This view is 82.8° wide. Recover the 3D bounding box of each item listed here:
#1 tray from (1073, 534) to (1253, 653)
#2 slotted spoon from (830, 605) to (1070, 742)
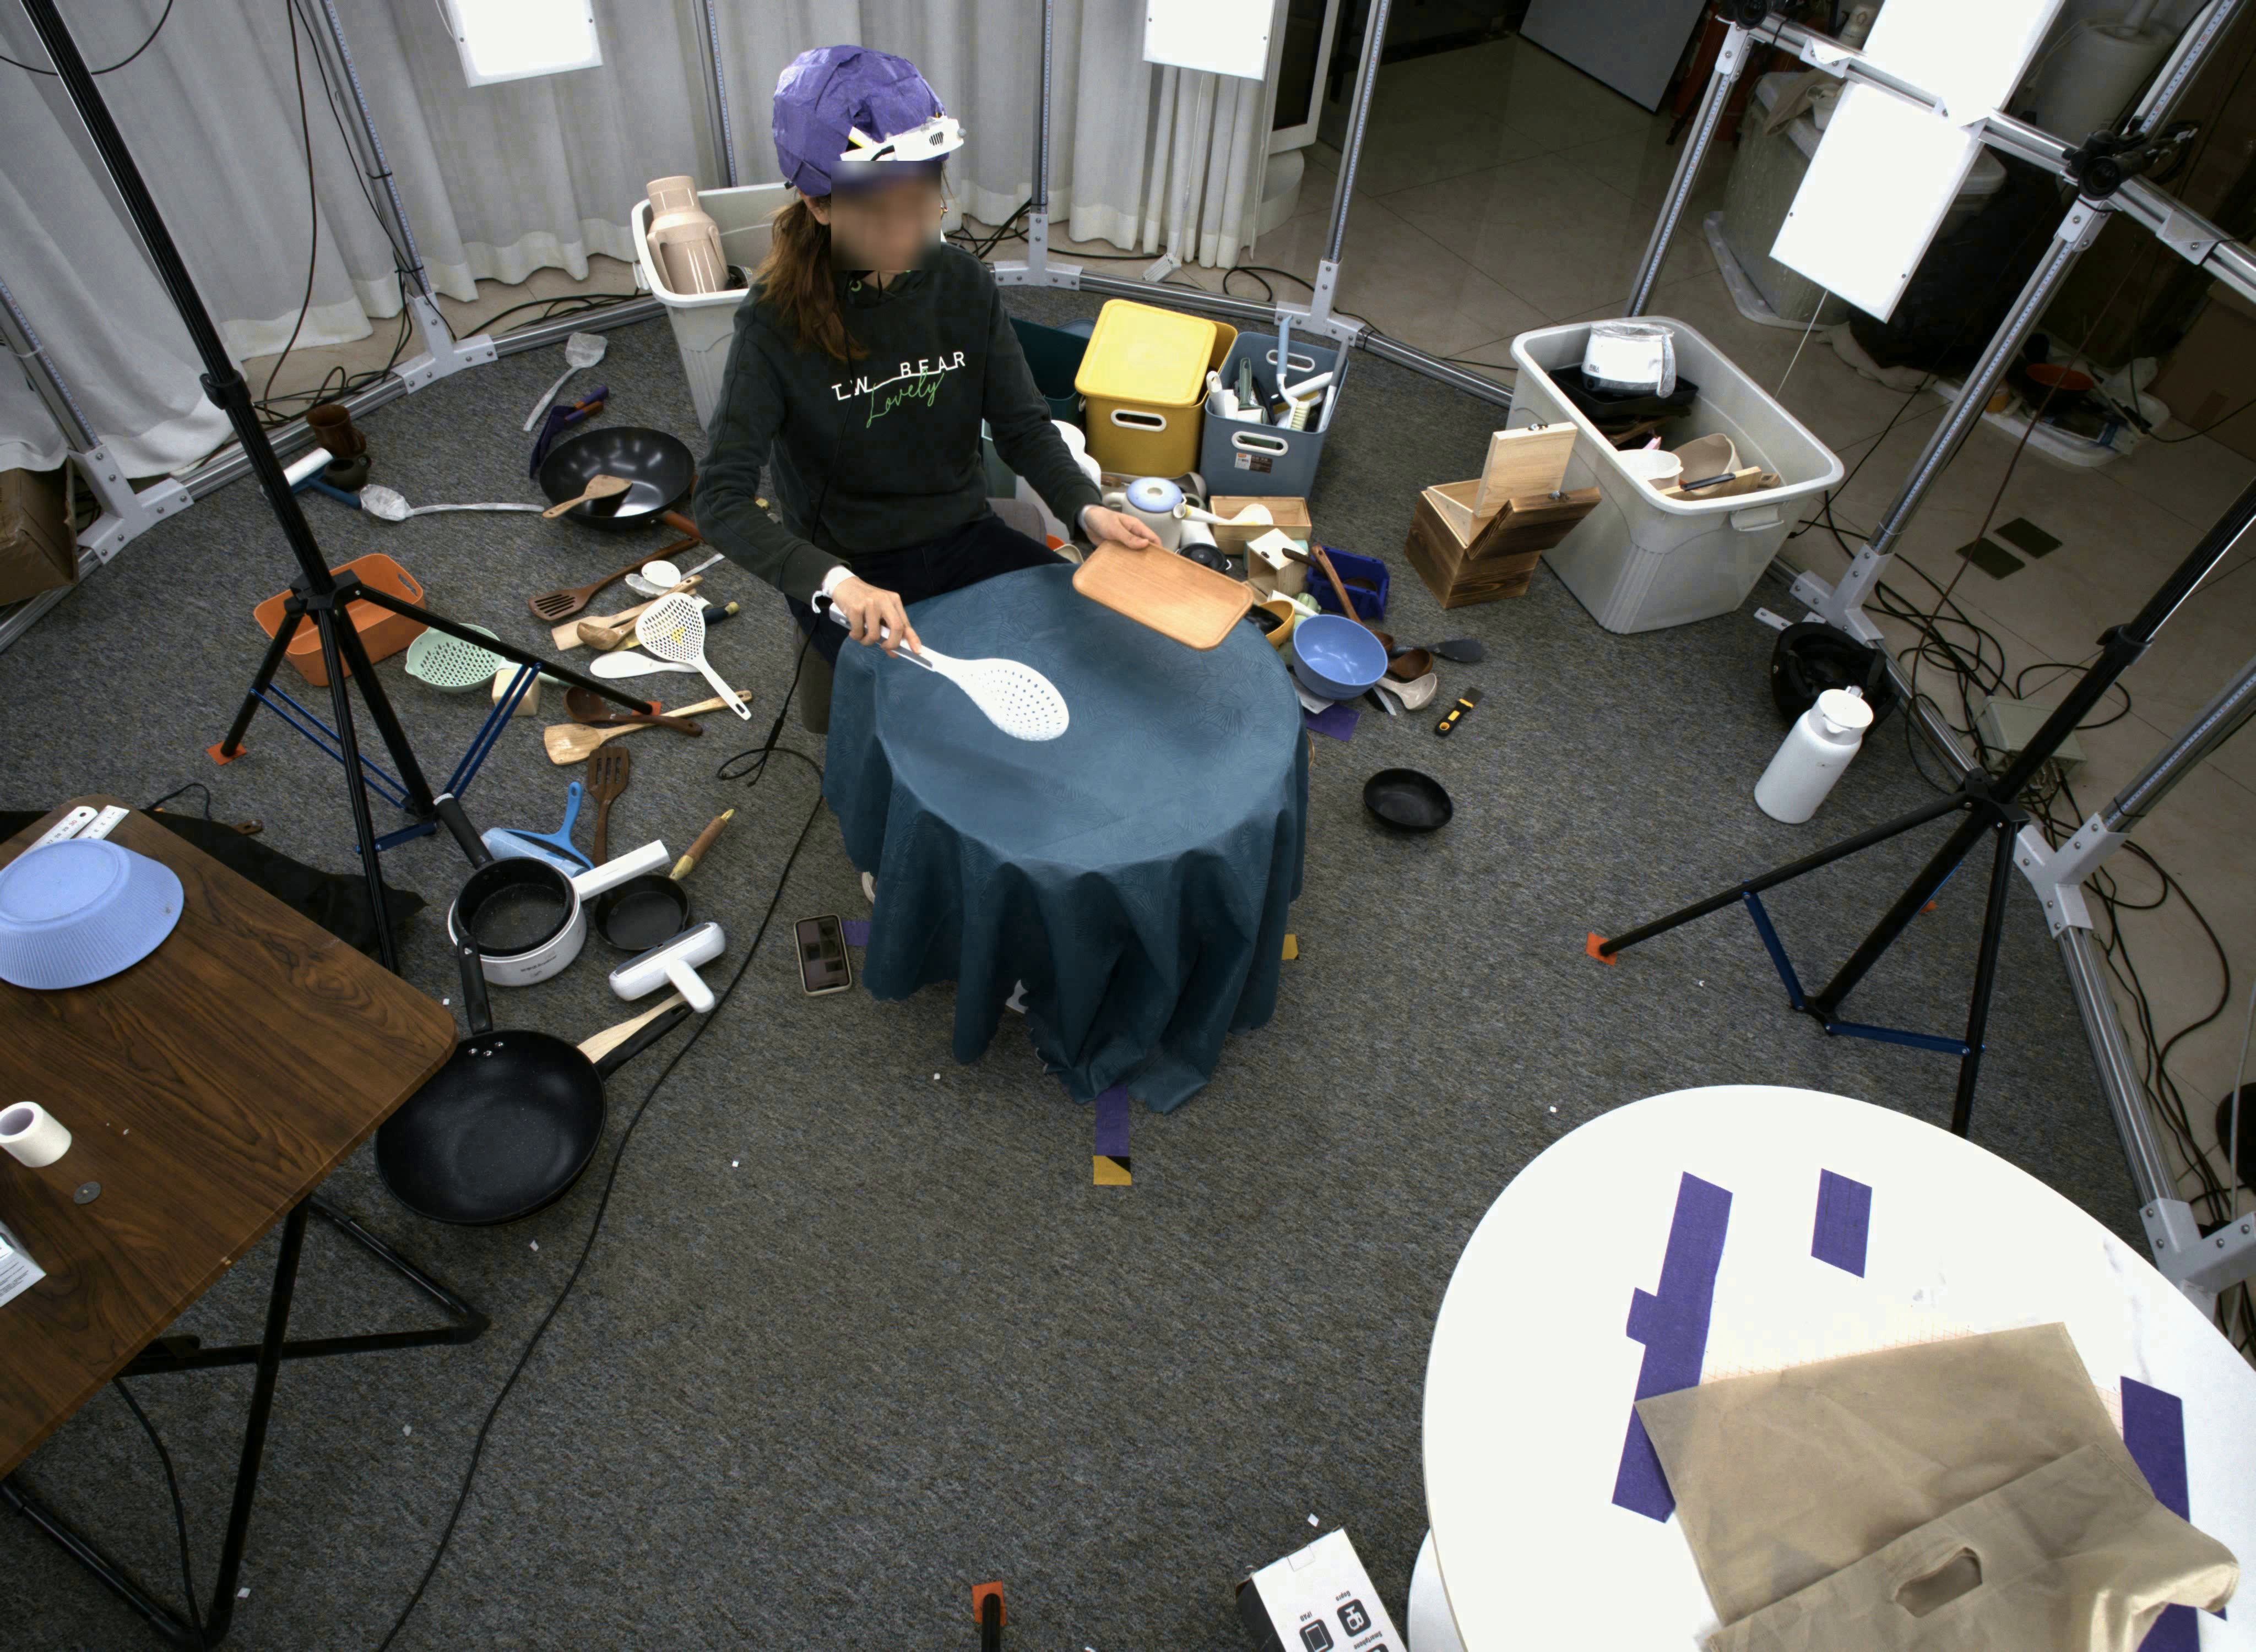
[{"bbox_3d":[0.048,-0.328,1.809,0.254,0.022,0.132,29,64,27],"label":"tray"},{"bbox_3d":[-0.234,-0.204,1.670,0.352,0.133,0.046,30,54,12],"label":"slotted spoon"}]
